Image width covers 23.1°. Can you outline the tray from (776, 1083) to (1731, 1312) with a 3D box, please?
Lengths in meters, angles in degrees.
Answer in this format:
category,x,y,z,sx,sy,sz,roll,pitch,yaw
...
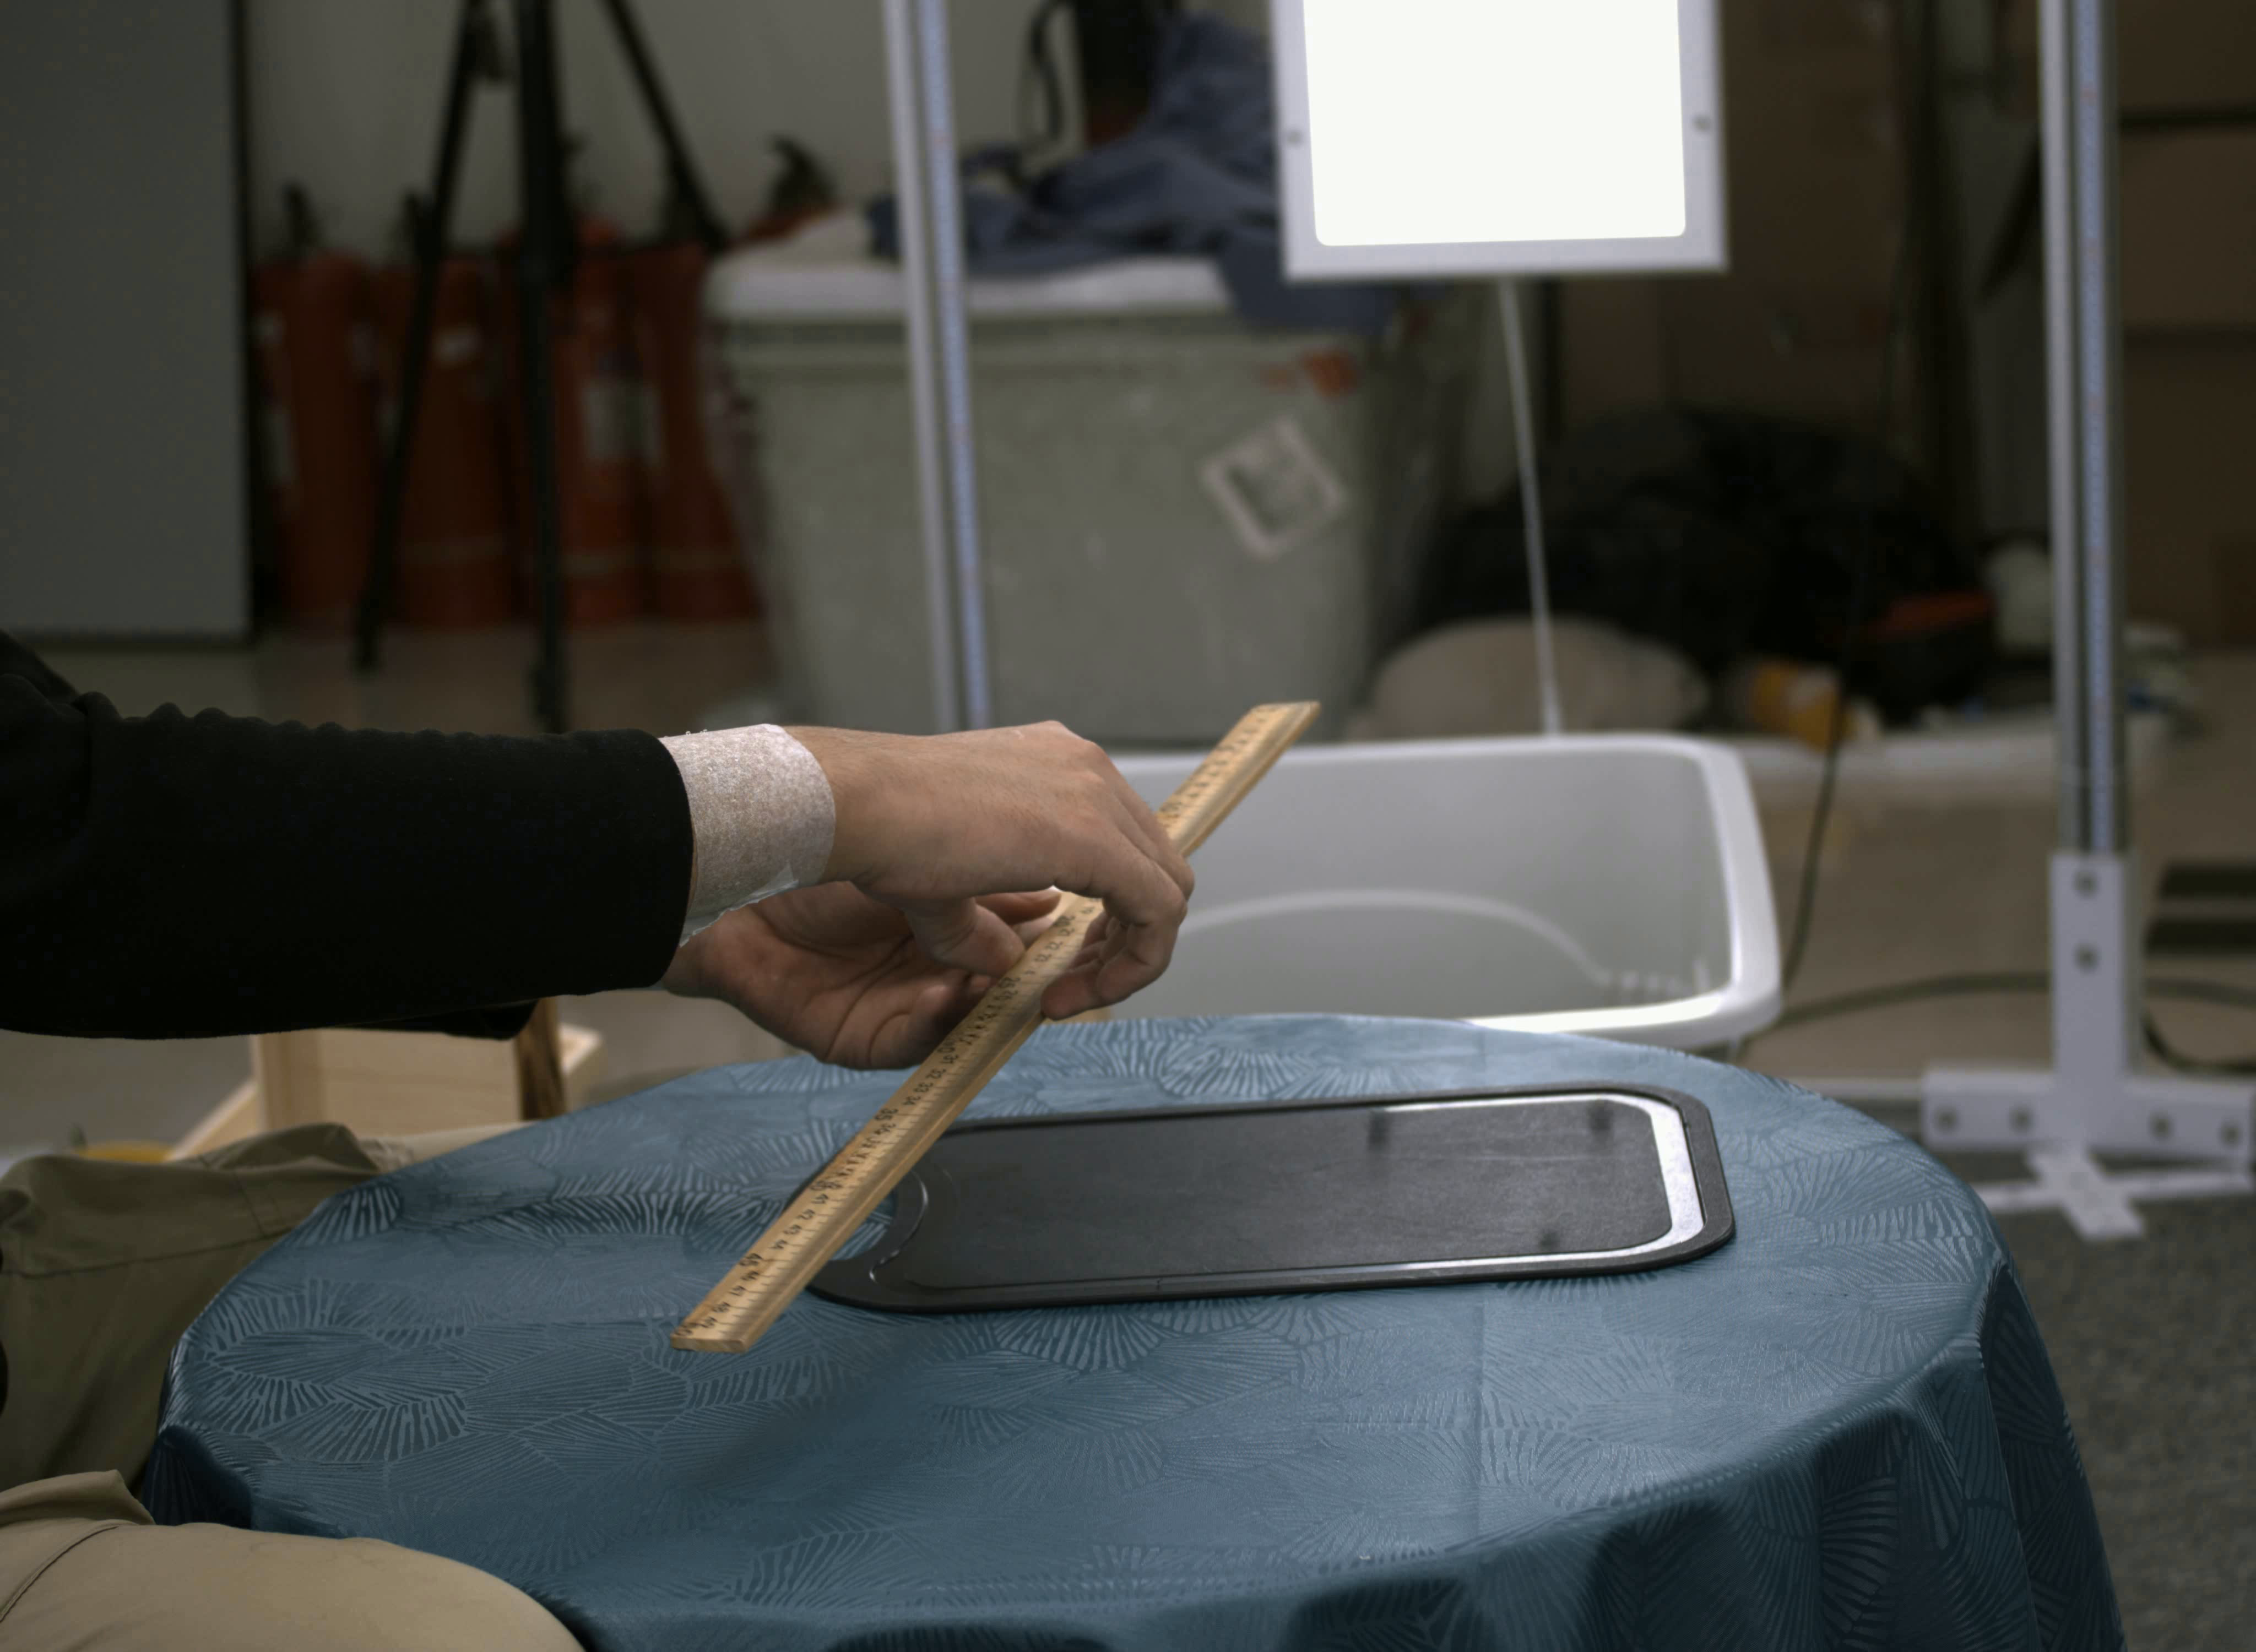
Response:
category,x,y,z,sx,sy,sz,roll,pitch,yaw
tray,0.041,0.124,1.878,0.326,0.010,0.210,-4,14,6

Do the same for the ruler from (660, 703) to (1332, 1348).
category,x,y,z,sx,sy,sz,roll,pitch,yaw
ruler,-0.032,0.054,1.820,0.027,0.006,0.491,-2,23,26
